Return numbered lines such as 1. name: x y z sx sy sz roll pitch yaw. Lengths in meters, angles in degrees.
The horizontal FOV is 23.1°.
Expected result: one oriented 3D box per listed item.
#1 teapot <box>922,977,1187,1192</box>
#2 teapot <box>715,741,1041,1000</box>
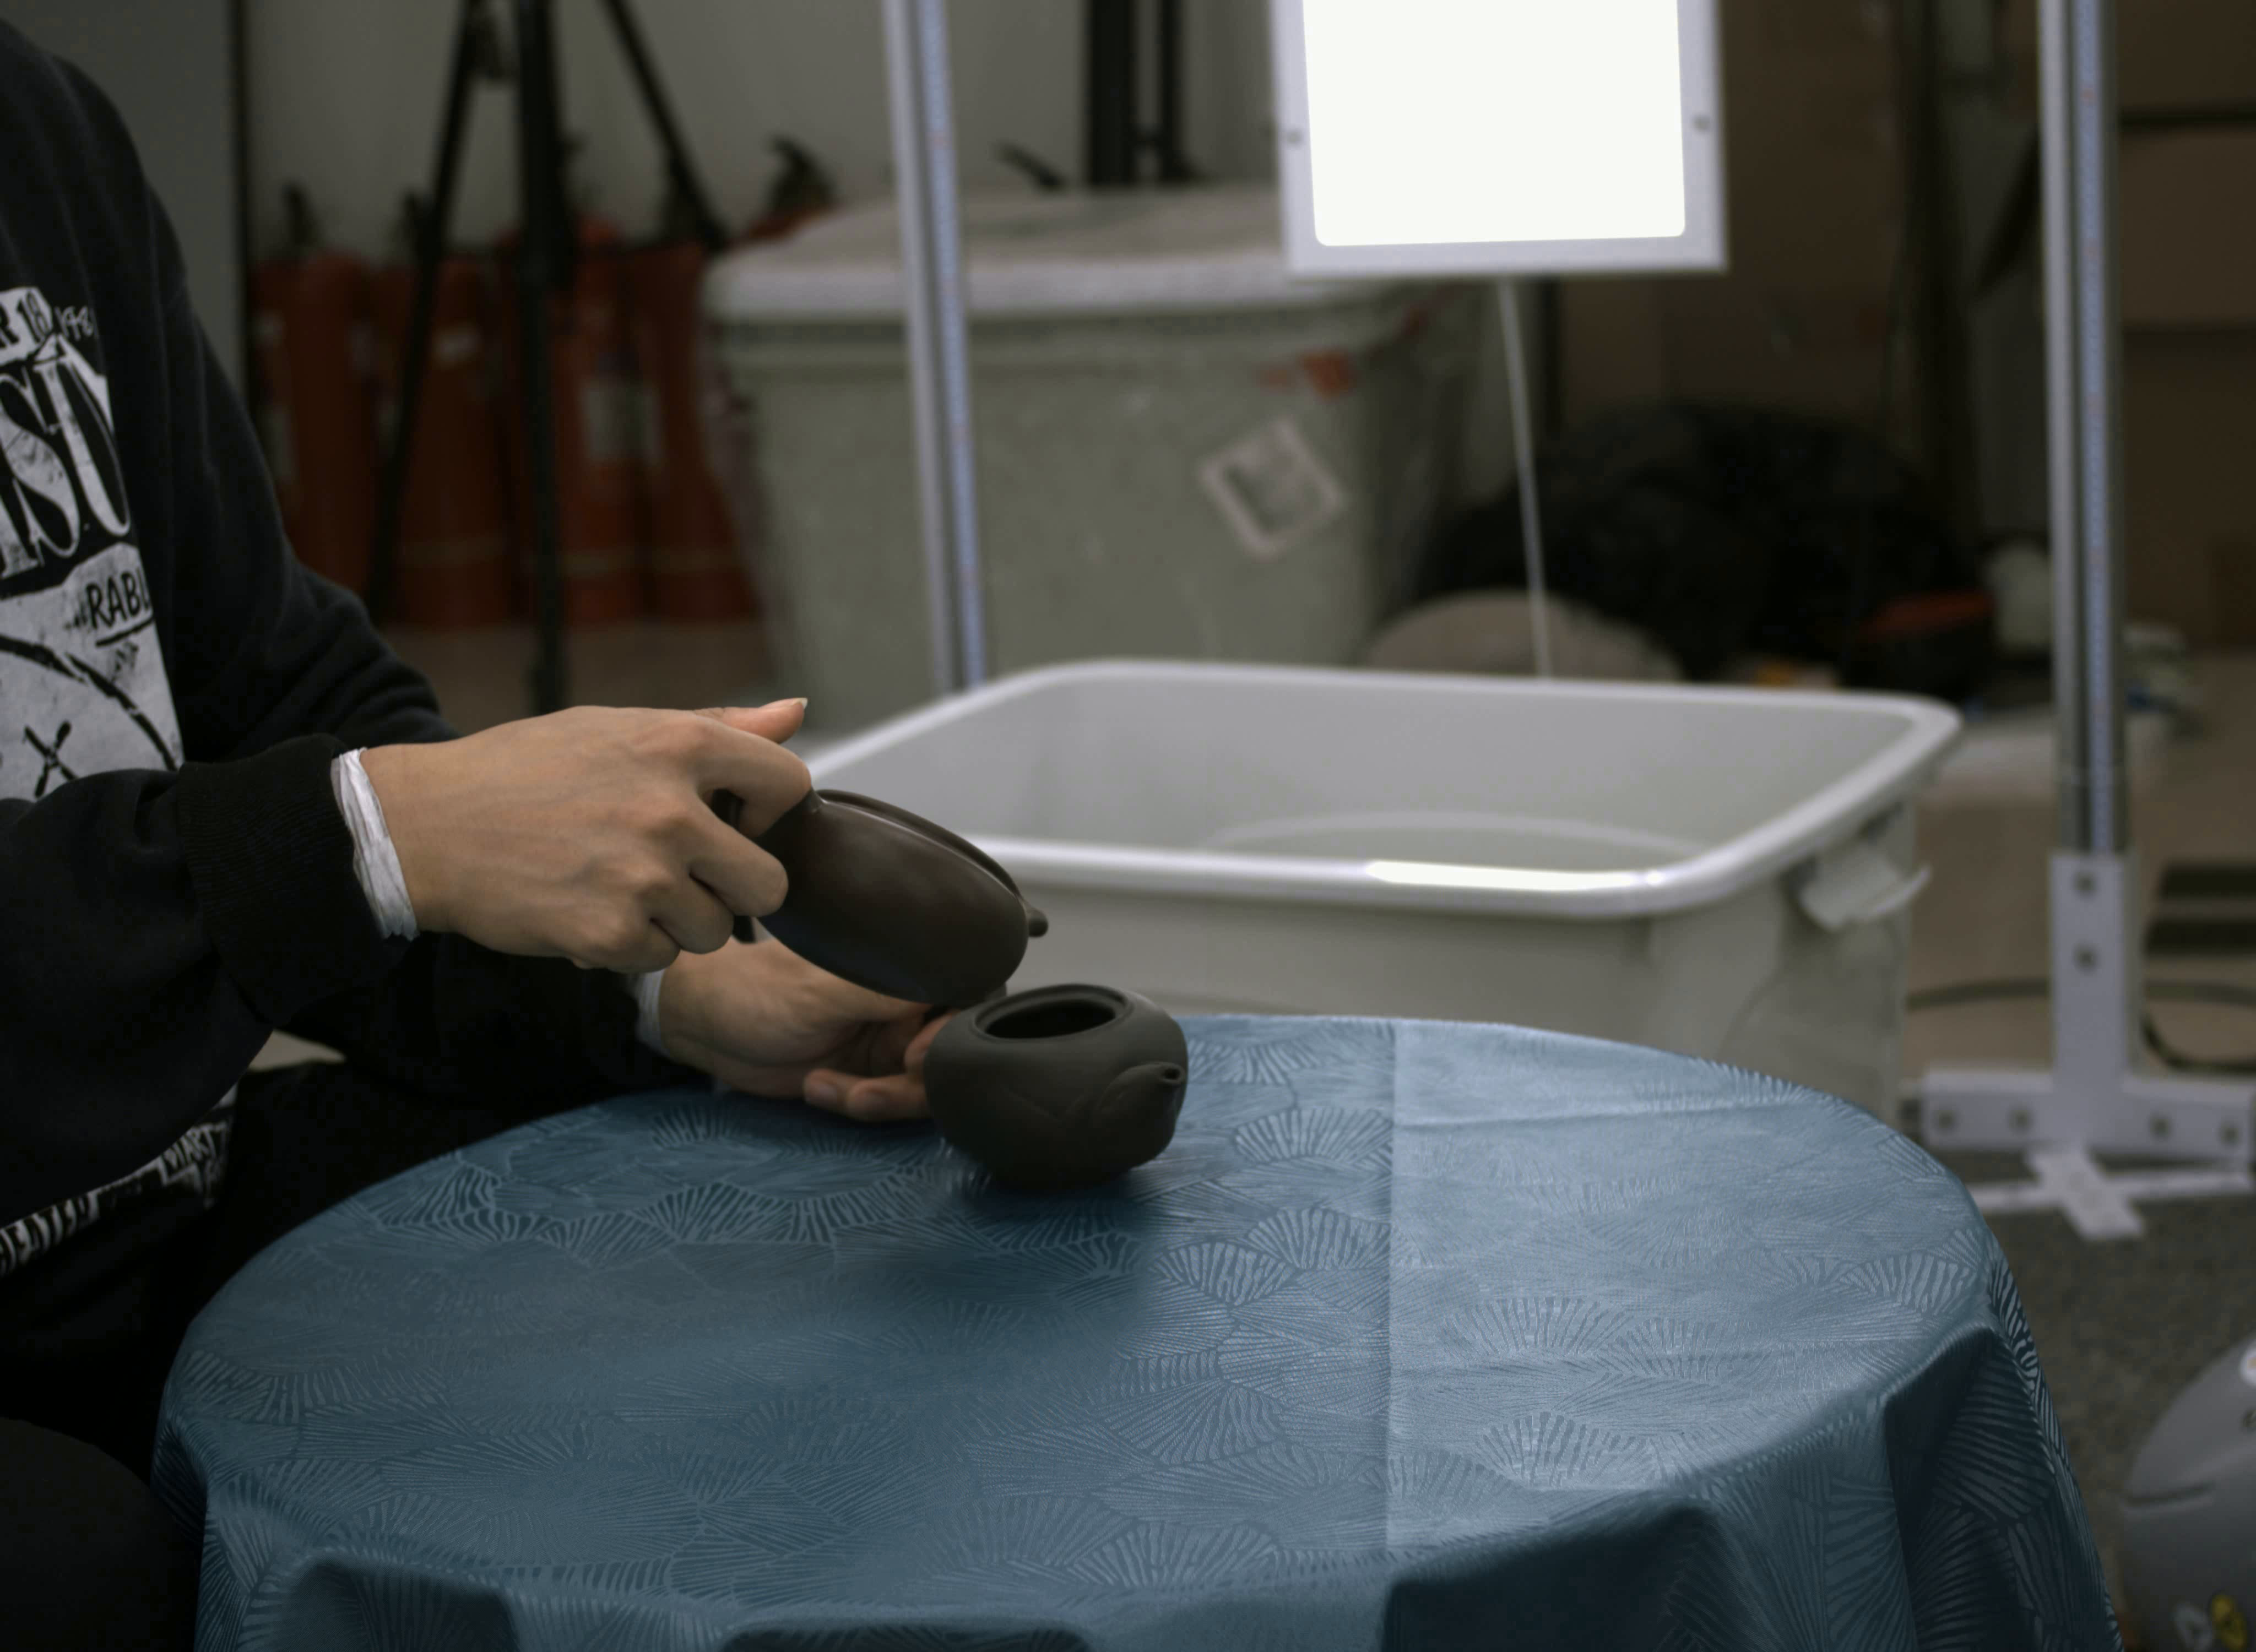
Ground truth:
1. teapot: -0.027 0.089 1.922 0.090 0.064 0.157 -14 19 -32
2. teapot: -0.084 0.019 1.828 0.105 0.053 0.151 8 -21 41
